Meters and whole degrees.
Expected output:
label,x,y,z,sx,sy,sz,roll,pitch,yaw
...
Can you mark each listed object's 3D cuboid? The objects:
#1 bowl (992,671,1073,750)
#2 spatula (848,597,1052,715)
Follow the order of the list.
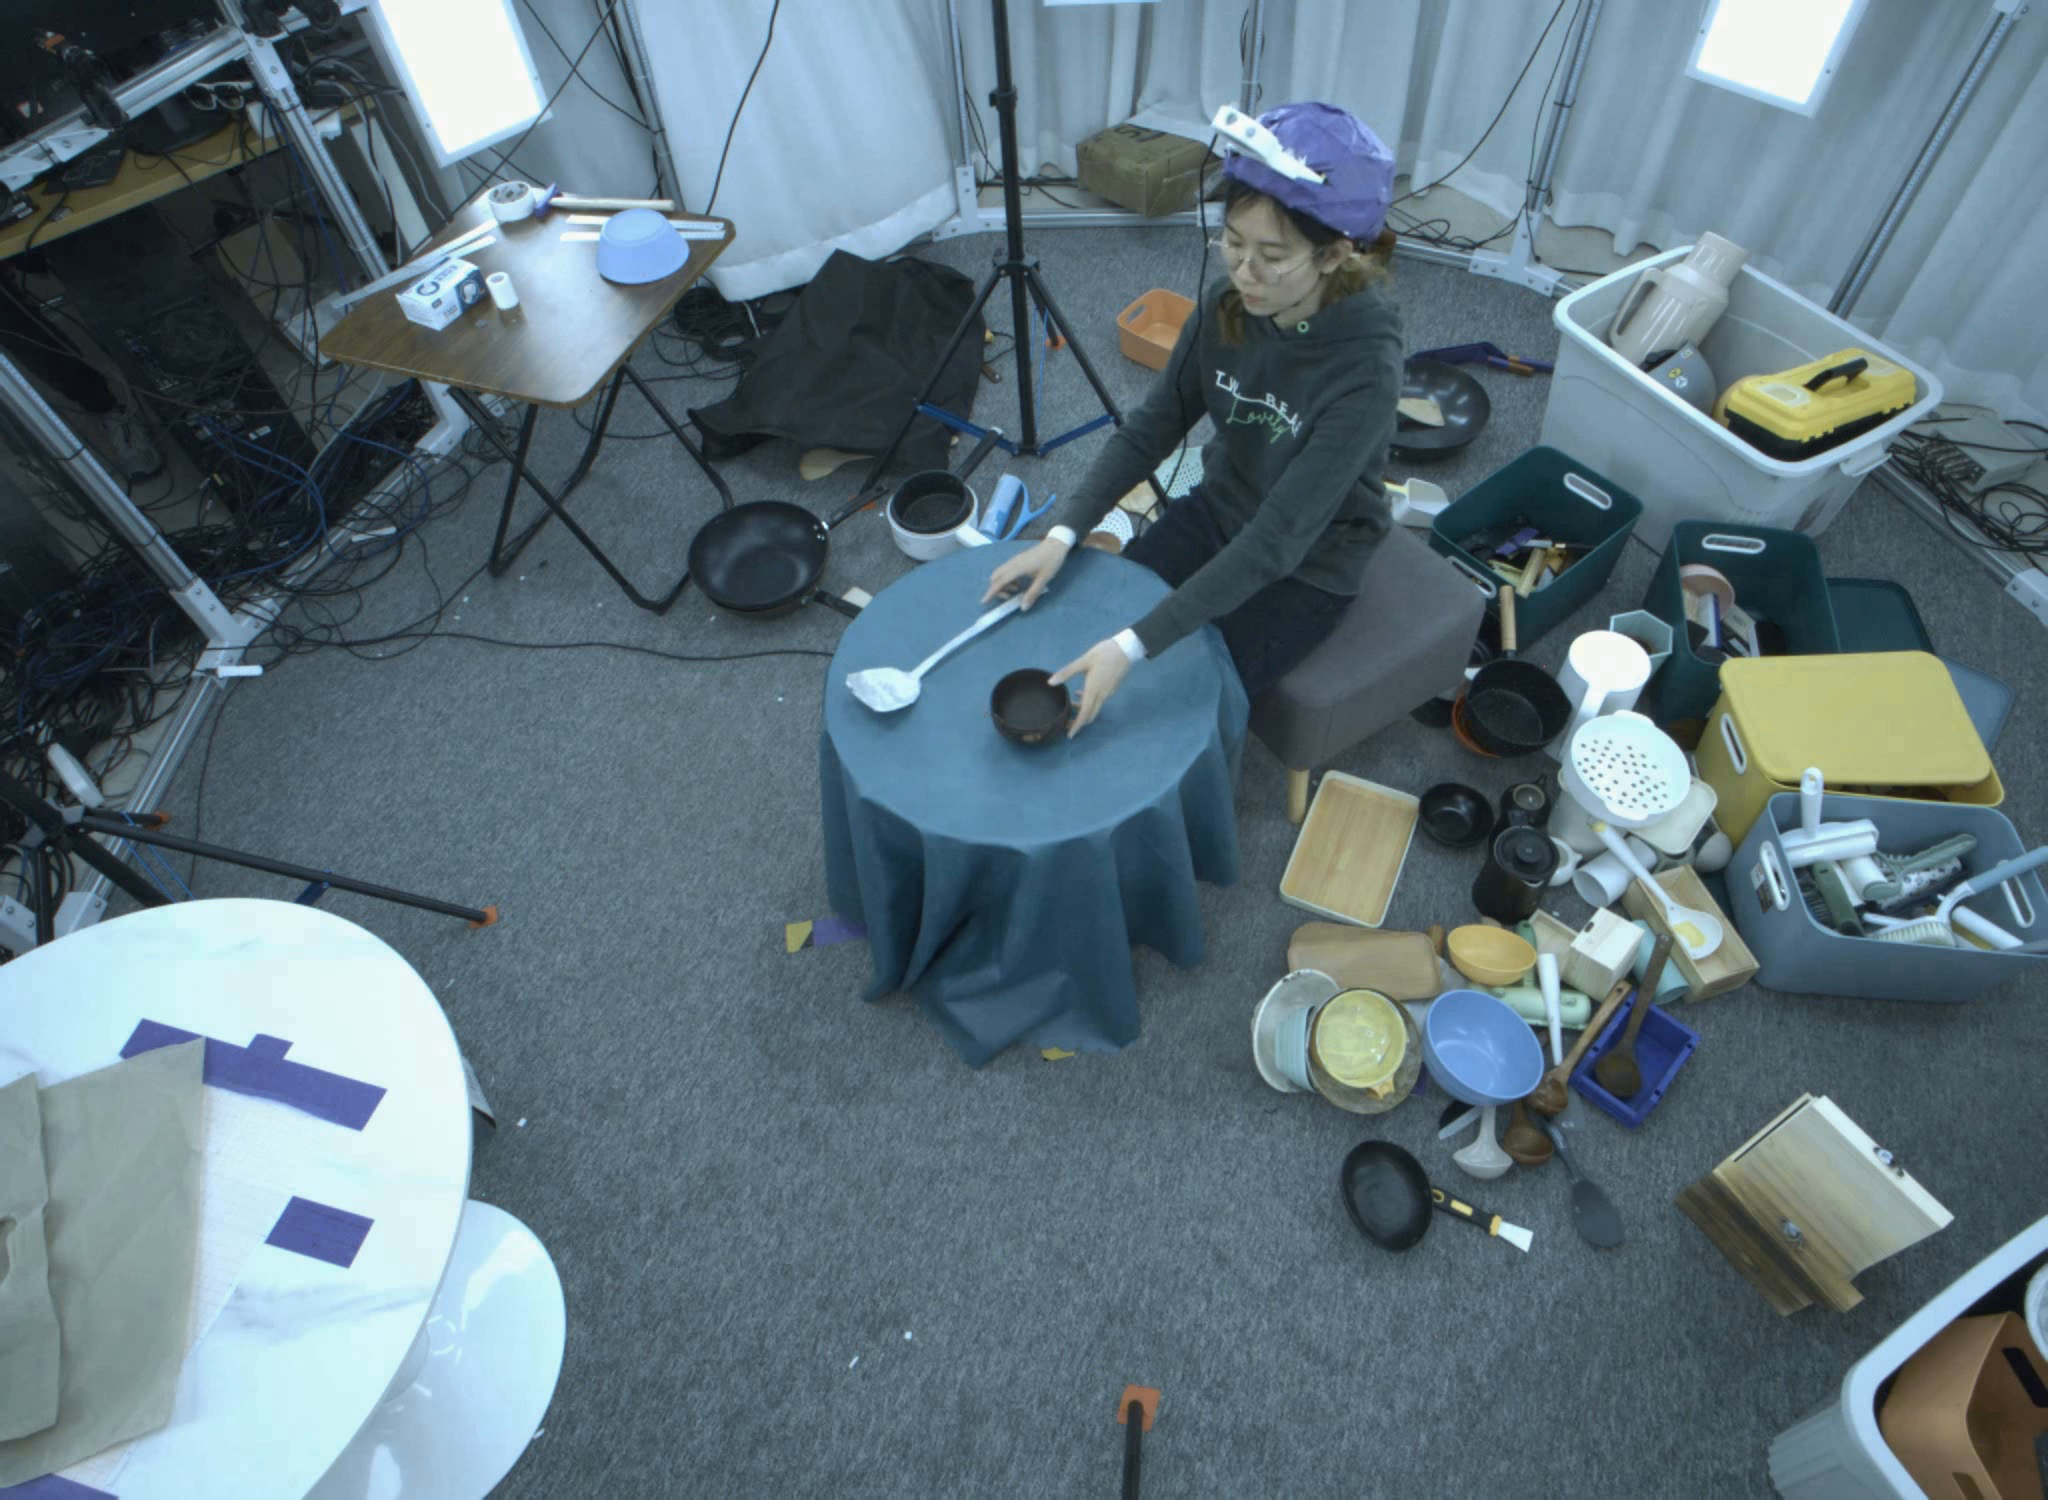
label,x,y,z,sx,sy,sz,roll,pitch,yaw
bowl,0.013,-0.050,1.789,0.118,0.070,0.117,1,56,0
spatula,-0.103,-0.159,1.889,0.367,0.045,0.097,-36,59,-21
